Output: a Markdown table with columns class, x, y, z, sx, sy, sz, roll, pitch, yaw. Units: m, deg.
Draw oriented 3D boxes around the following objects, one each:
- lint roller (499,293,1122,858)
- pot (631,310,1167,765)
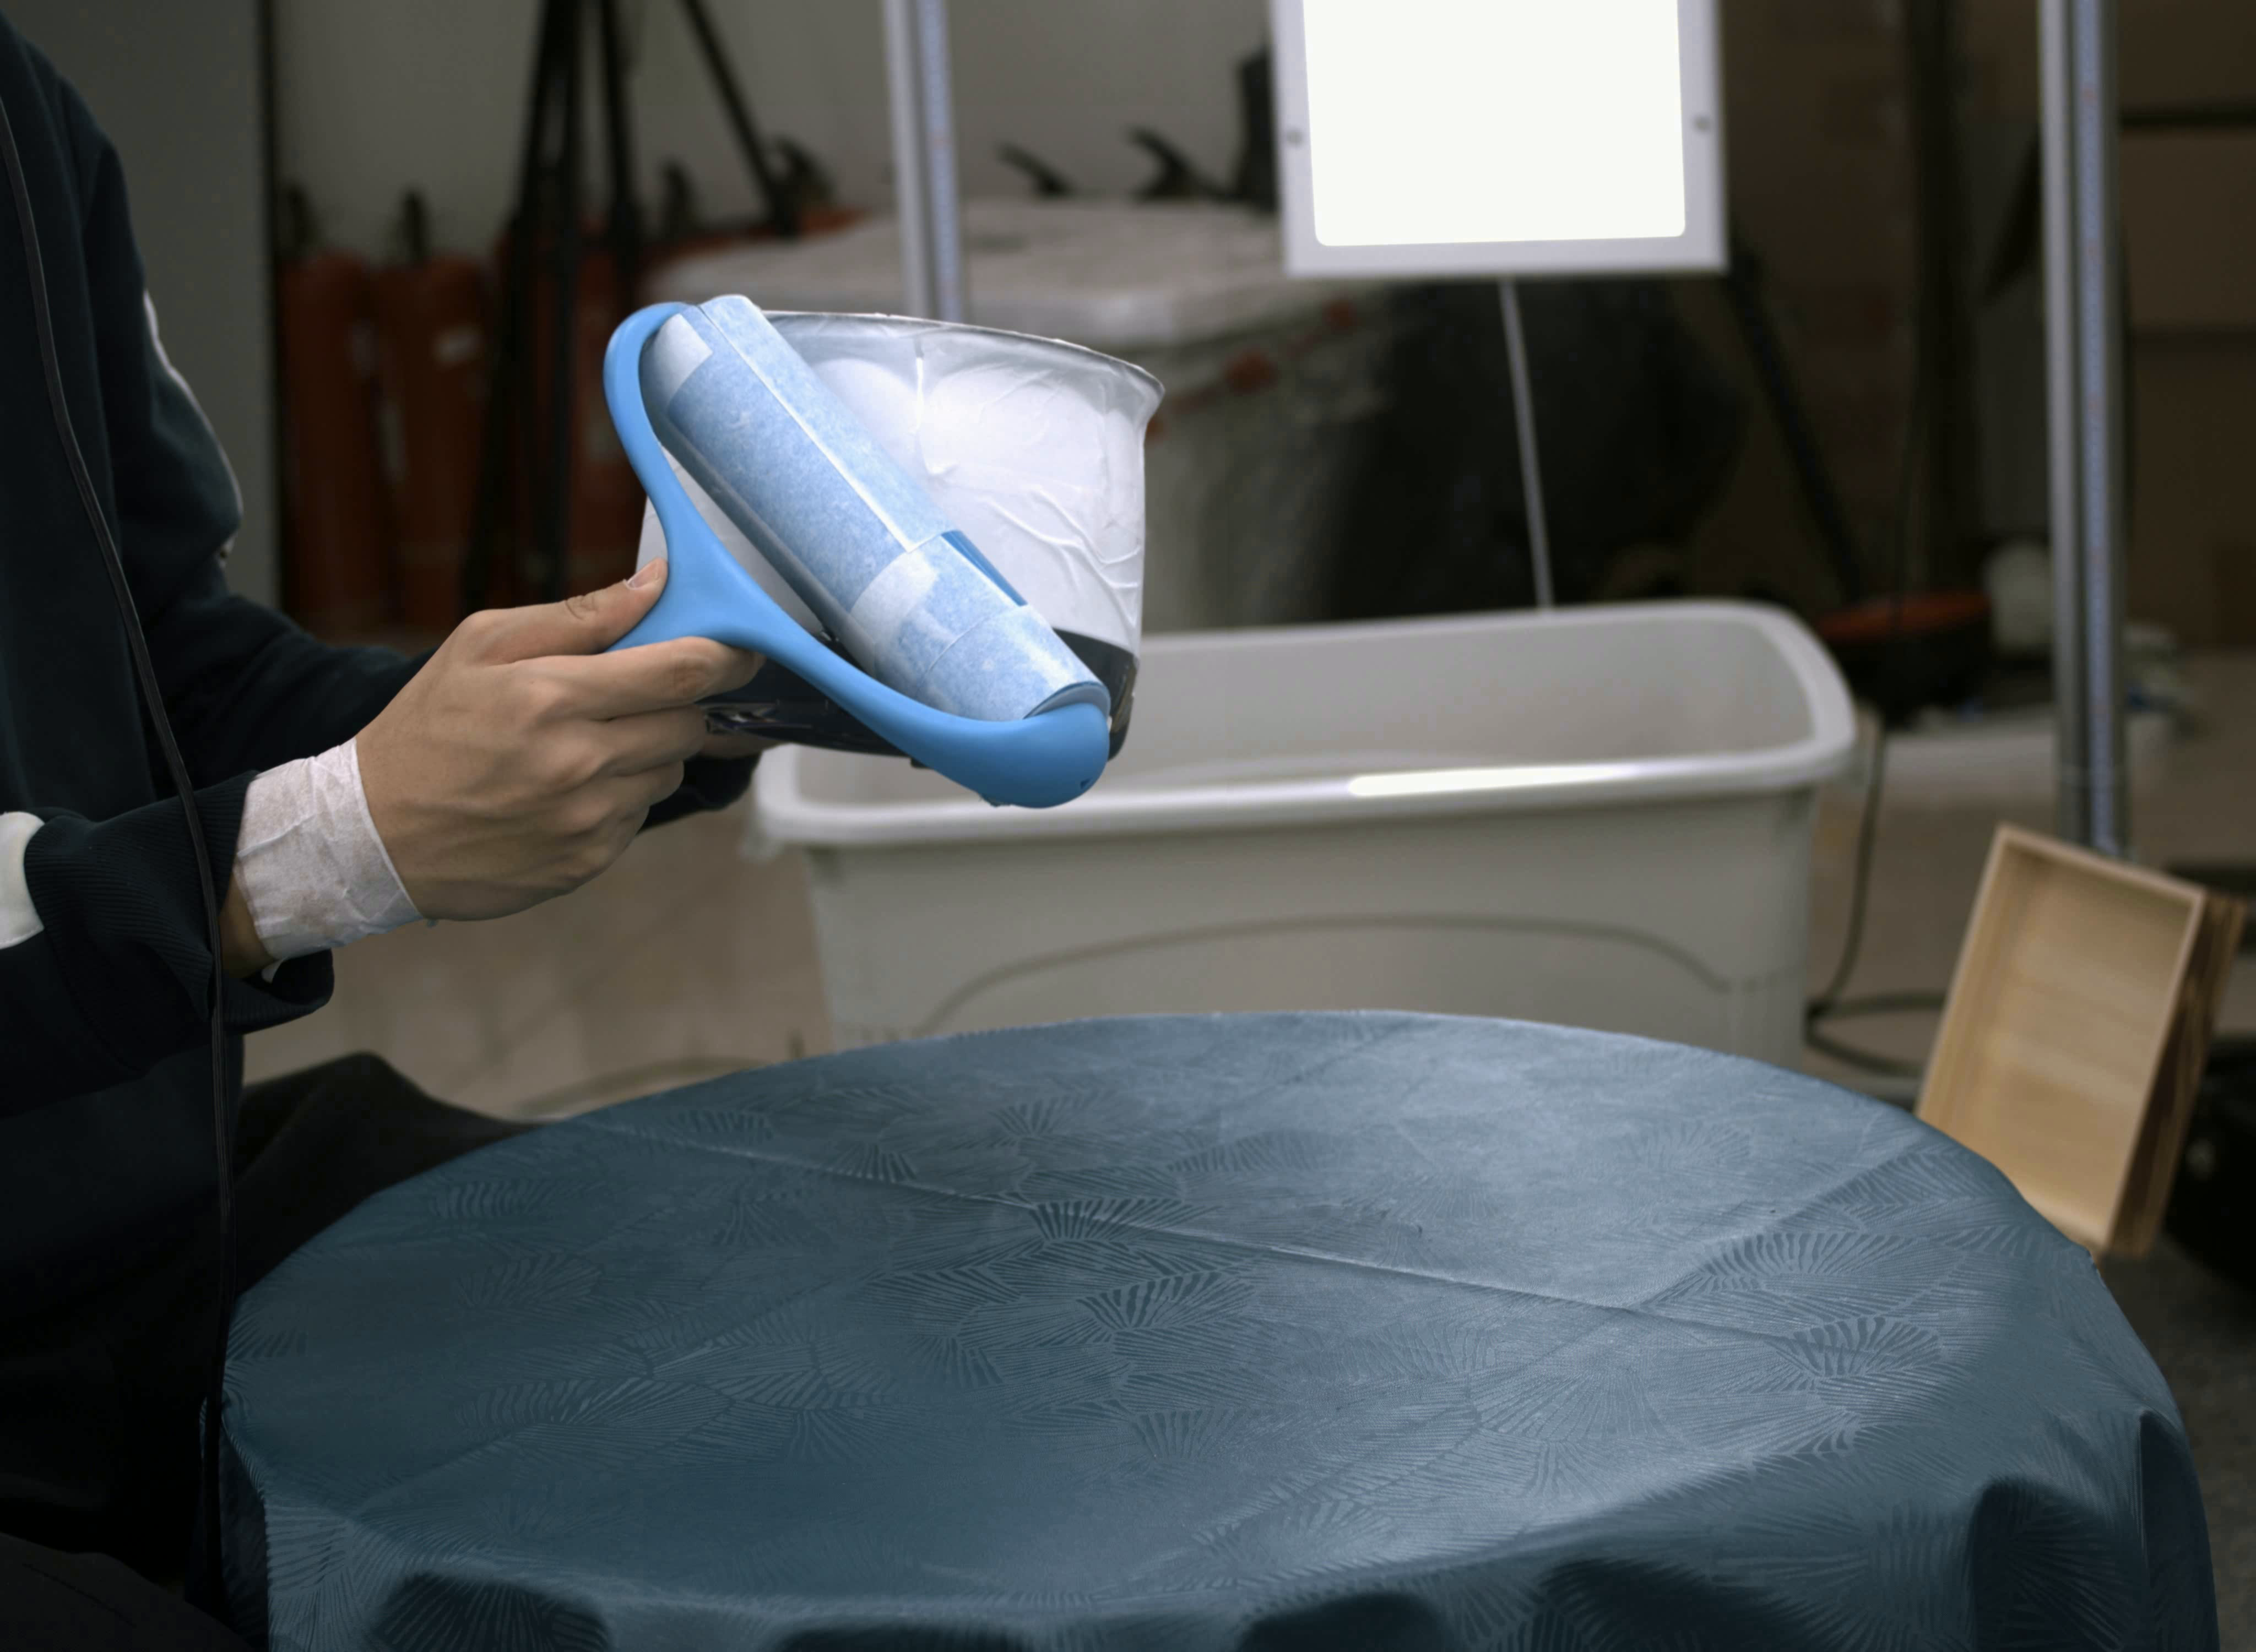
| class | x | y | z | sx | sy | sz | roll | pitch | yaw |
| --- | --- | --- | --- | --- | --- | --- | --- | --- | --- |
| lint roller | -0.127 | -0.058 | 1.757 | 0.178 | 0.068 | 0.231 | -39 | 66 | -16 |
| pot | -0.093 | -0.096 | 1.922 | 0.175 | 0.137 | 0.238 | 8 | -6 | -27 |
